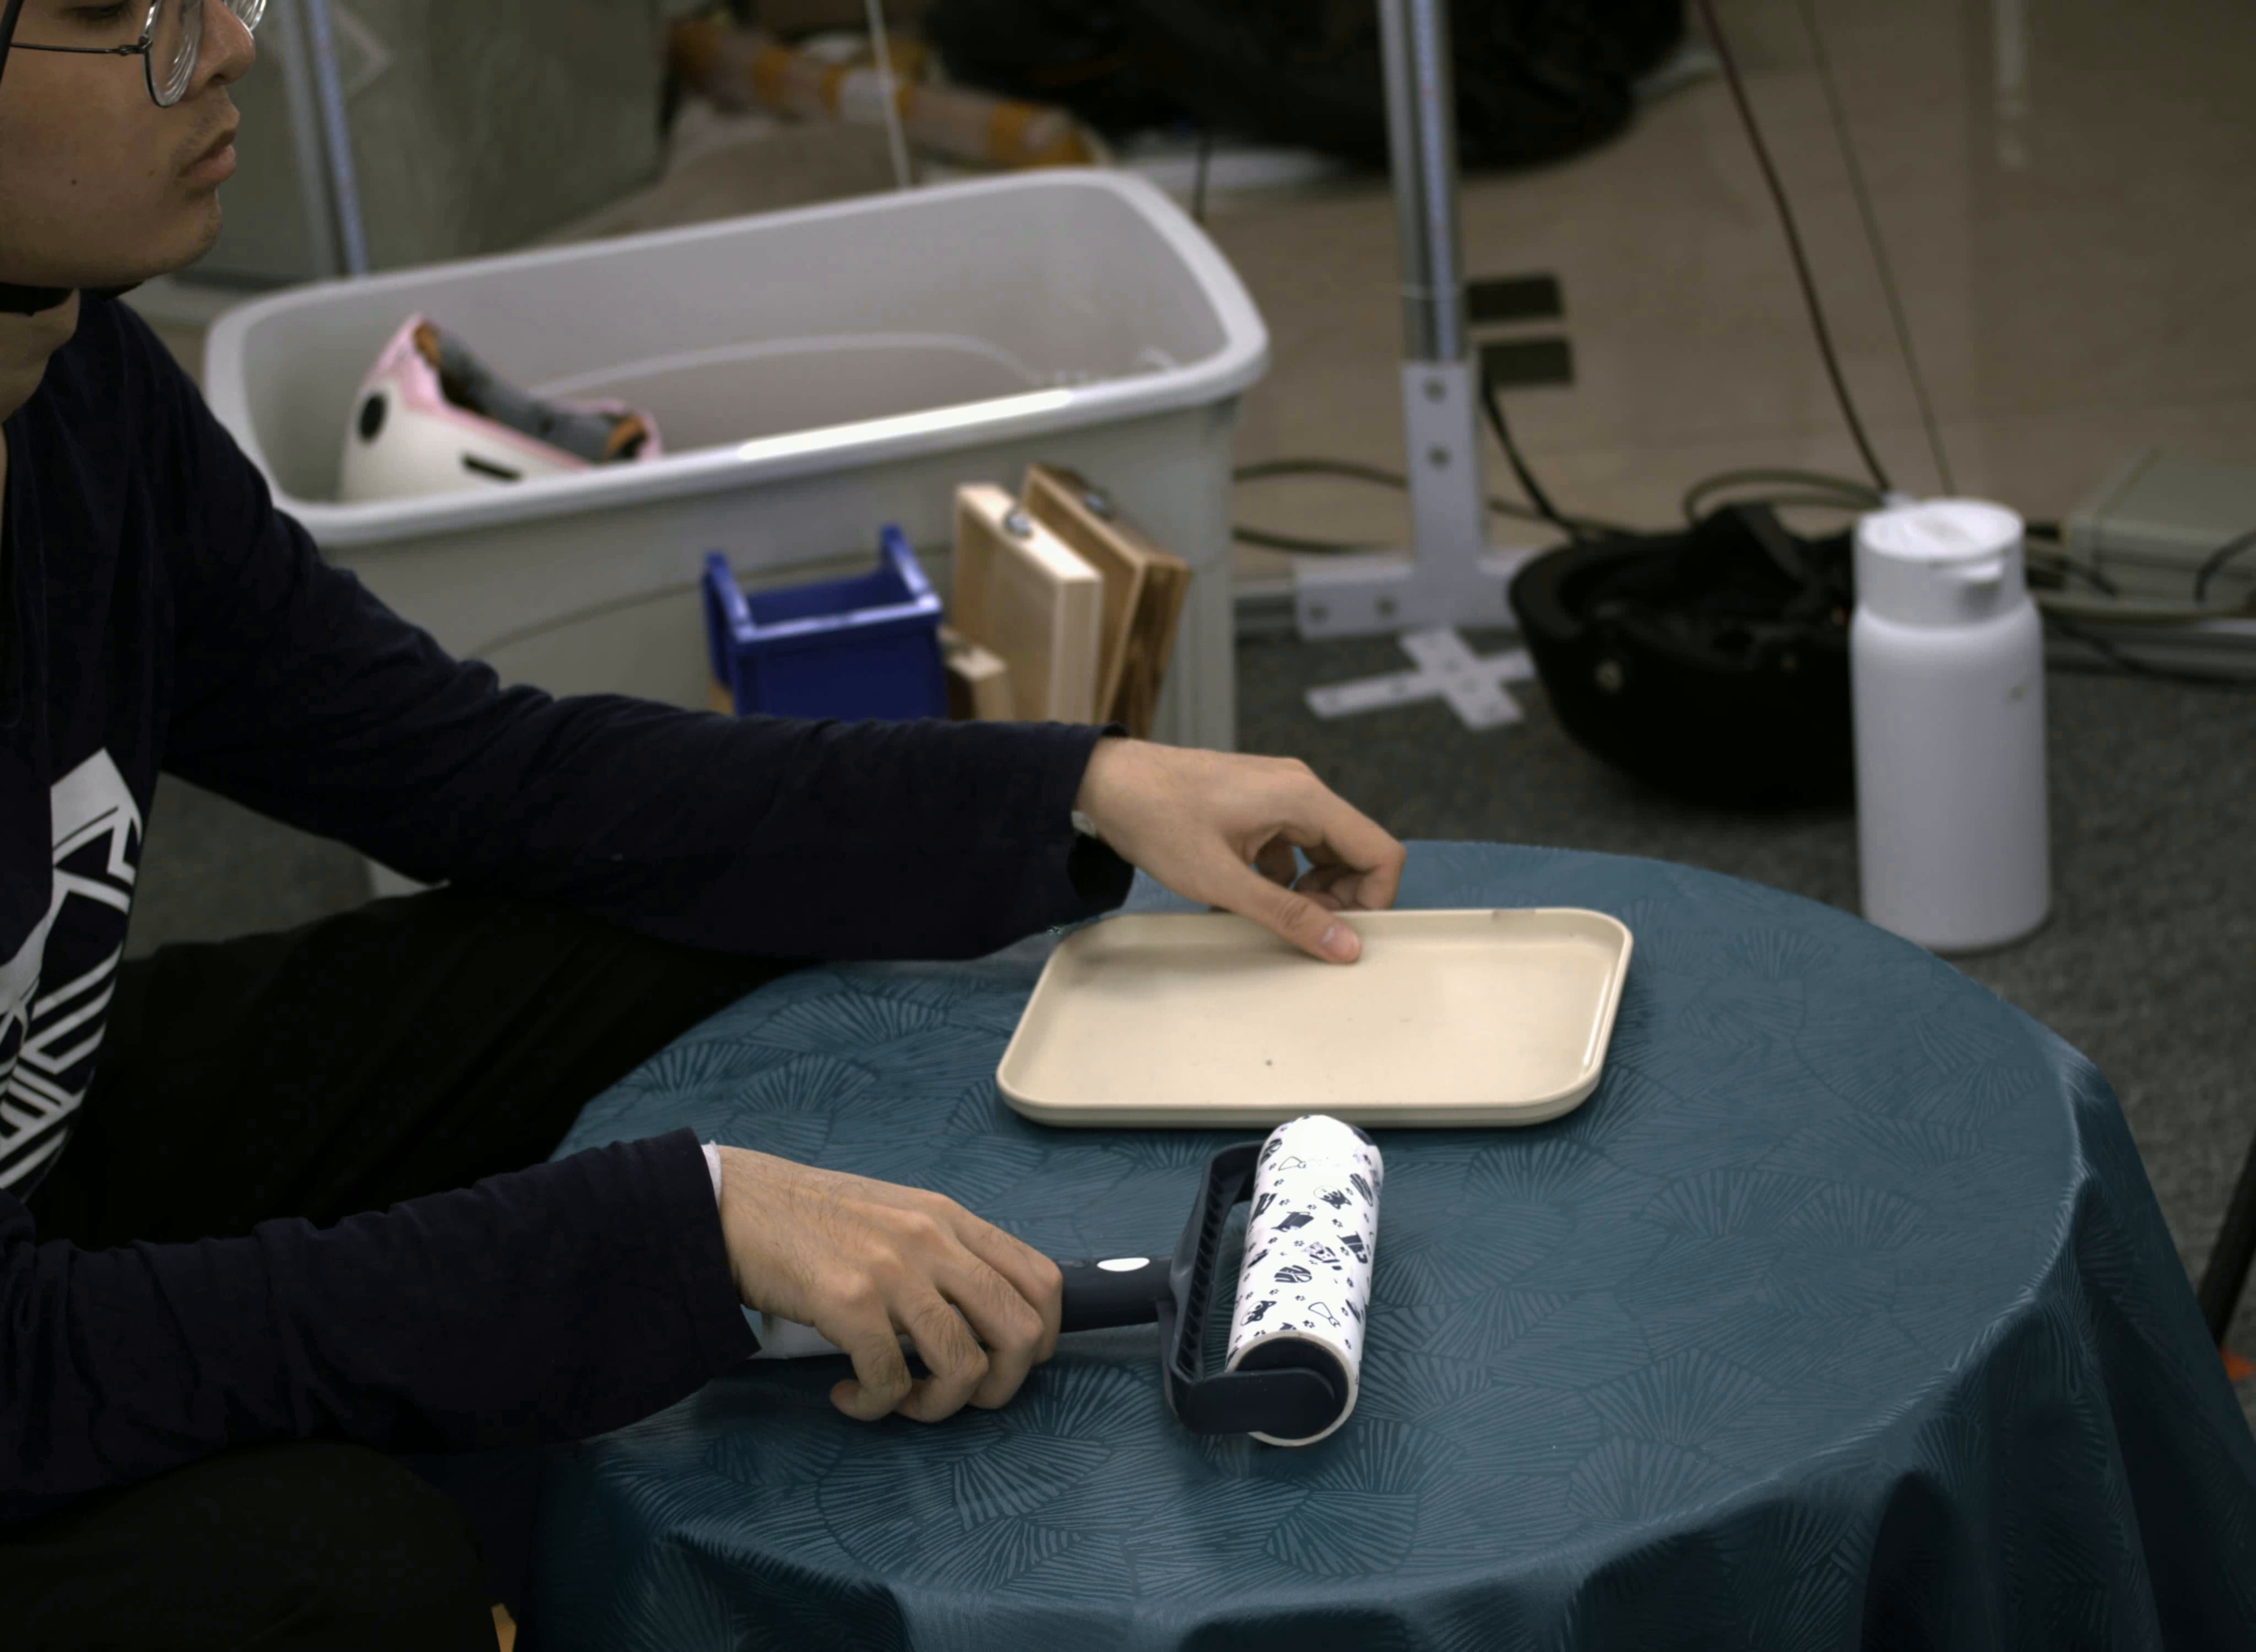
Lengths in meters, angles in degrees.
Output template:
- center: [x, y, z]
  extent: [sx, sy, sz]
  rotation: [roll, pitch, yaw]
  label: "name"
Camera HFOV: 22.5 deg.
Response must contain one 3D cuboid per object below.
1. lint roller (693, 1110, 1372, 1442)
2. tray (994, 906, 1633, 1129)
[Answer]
- center: [-0.038, 0.170, 2.045]
  extent: [0.247, 0.051, 0.173]
  rotation: [-6, 25, 8]
  label: "lint roller"
- center: [0.075, 0.077, 2.245]
  extent: [0.239, 0.018, 0.169]
  rotation: [0, 26, 14]
  label: "tray"
